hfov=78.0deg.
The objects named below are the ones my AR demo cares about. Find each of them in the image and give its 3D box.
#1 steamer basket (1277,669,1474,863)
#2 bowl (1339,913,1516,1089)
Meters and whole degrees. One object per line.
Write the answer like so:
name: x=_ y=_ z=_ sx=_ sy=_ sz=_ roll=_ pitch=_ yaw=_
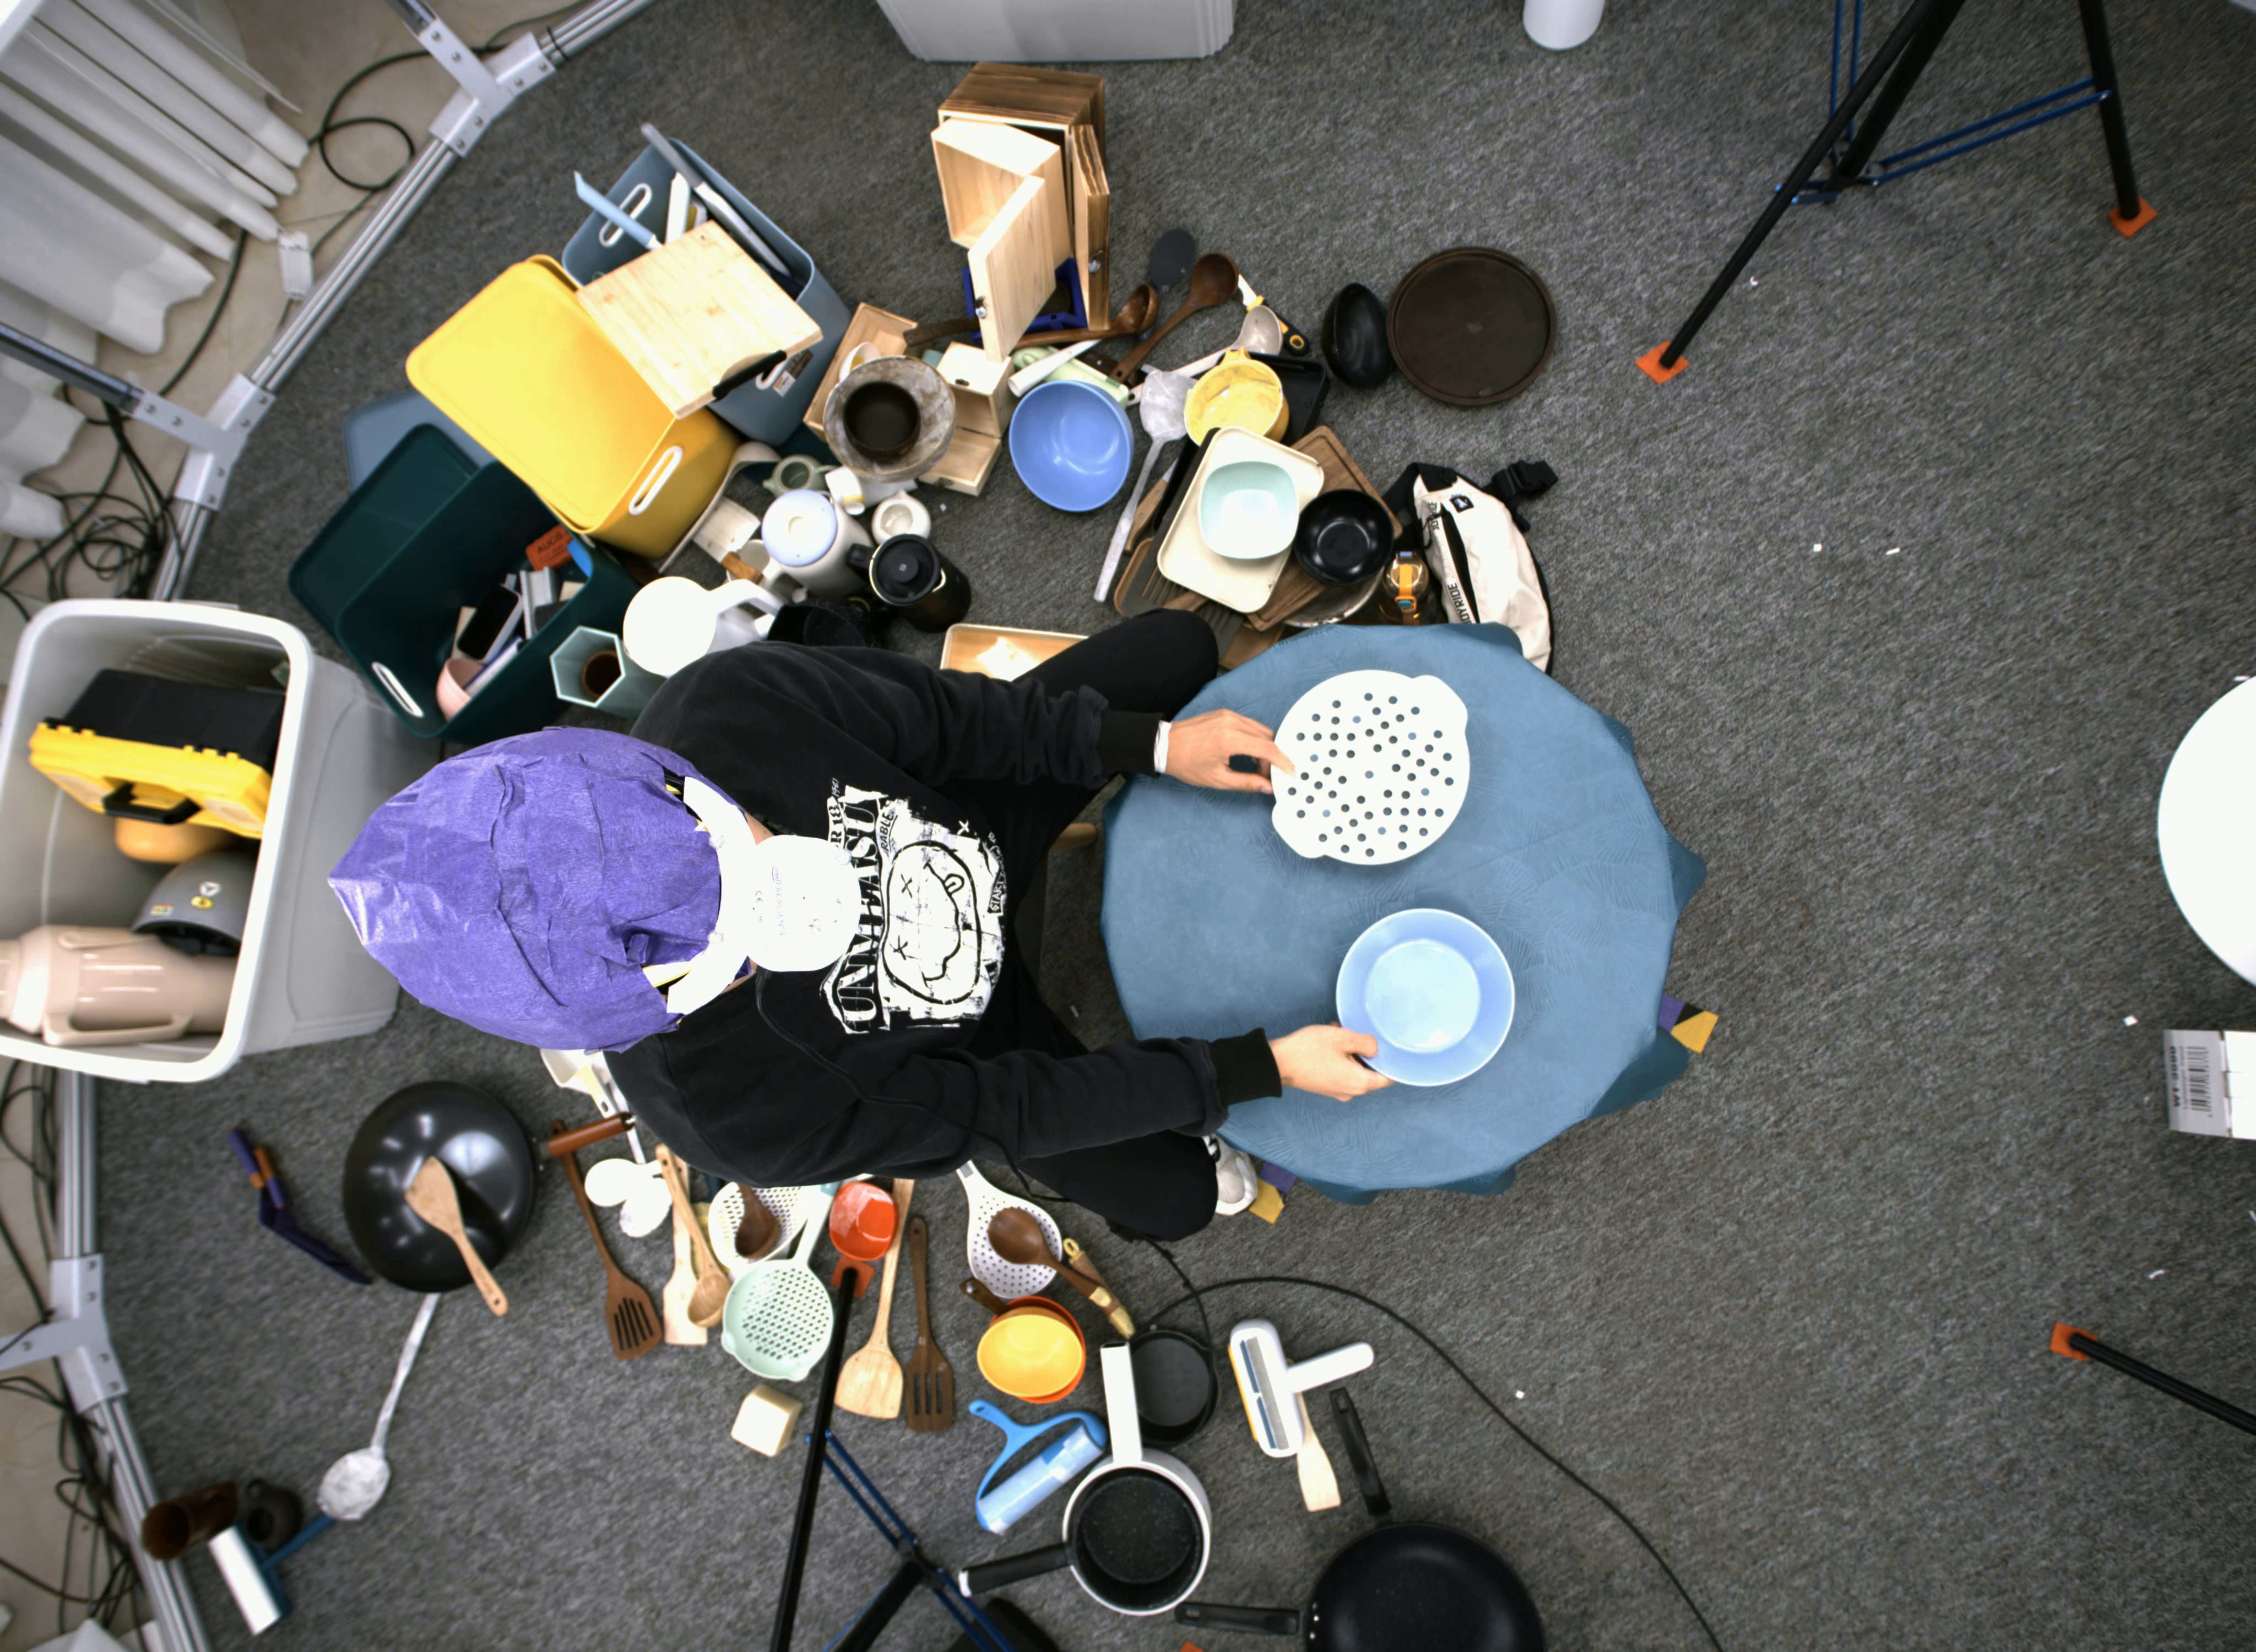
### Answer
steamer basket: x=0.257 y=-0.061 z=1.441 sx=0.231 sy=0.069 sz=0.201 roll=-42 pitch=80 yaw=3
bowl: x=0.305 y=0.177 z=1.415 sx=0.177 sy=0.070 sz=0.175 roll=-1 pitch=85 yaw=11
